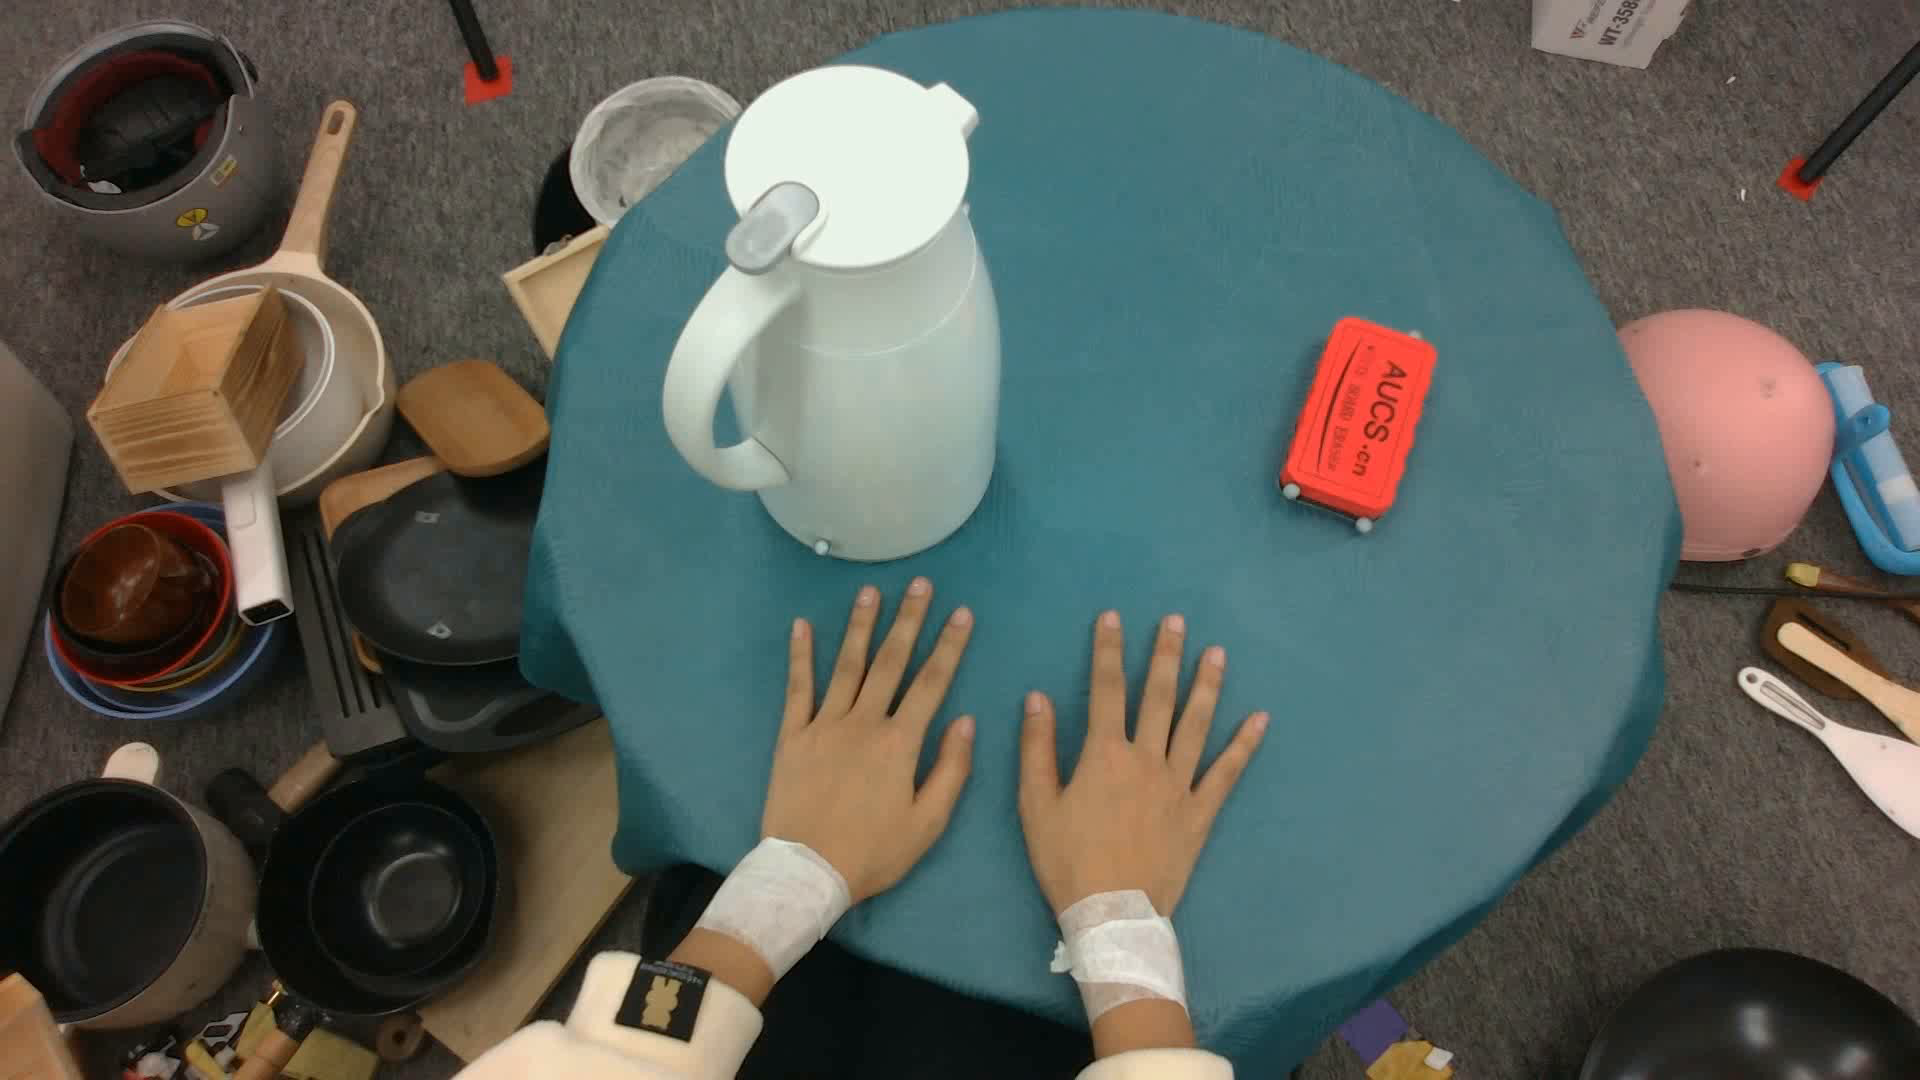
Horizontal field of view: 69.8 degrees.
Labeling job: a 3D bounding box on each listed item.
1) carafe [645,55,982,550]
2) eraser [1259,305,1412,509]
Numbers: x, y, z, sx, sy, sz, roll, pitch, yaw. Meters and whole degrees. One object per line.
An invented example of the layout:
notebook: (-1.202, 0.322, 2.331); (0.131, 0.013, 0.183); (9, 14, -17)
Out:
carafe: (-0.066, -0.088, 0.617); (0.132, 0.247, 0.168); (40, 72, 13)
eraser: (0.204, -0.073, 0.745); (0.059, 0.023, 0.108); (19, 67, 8)
